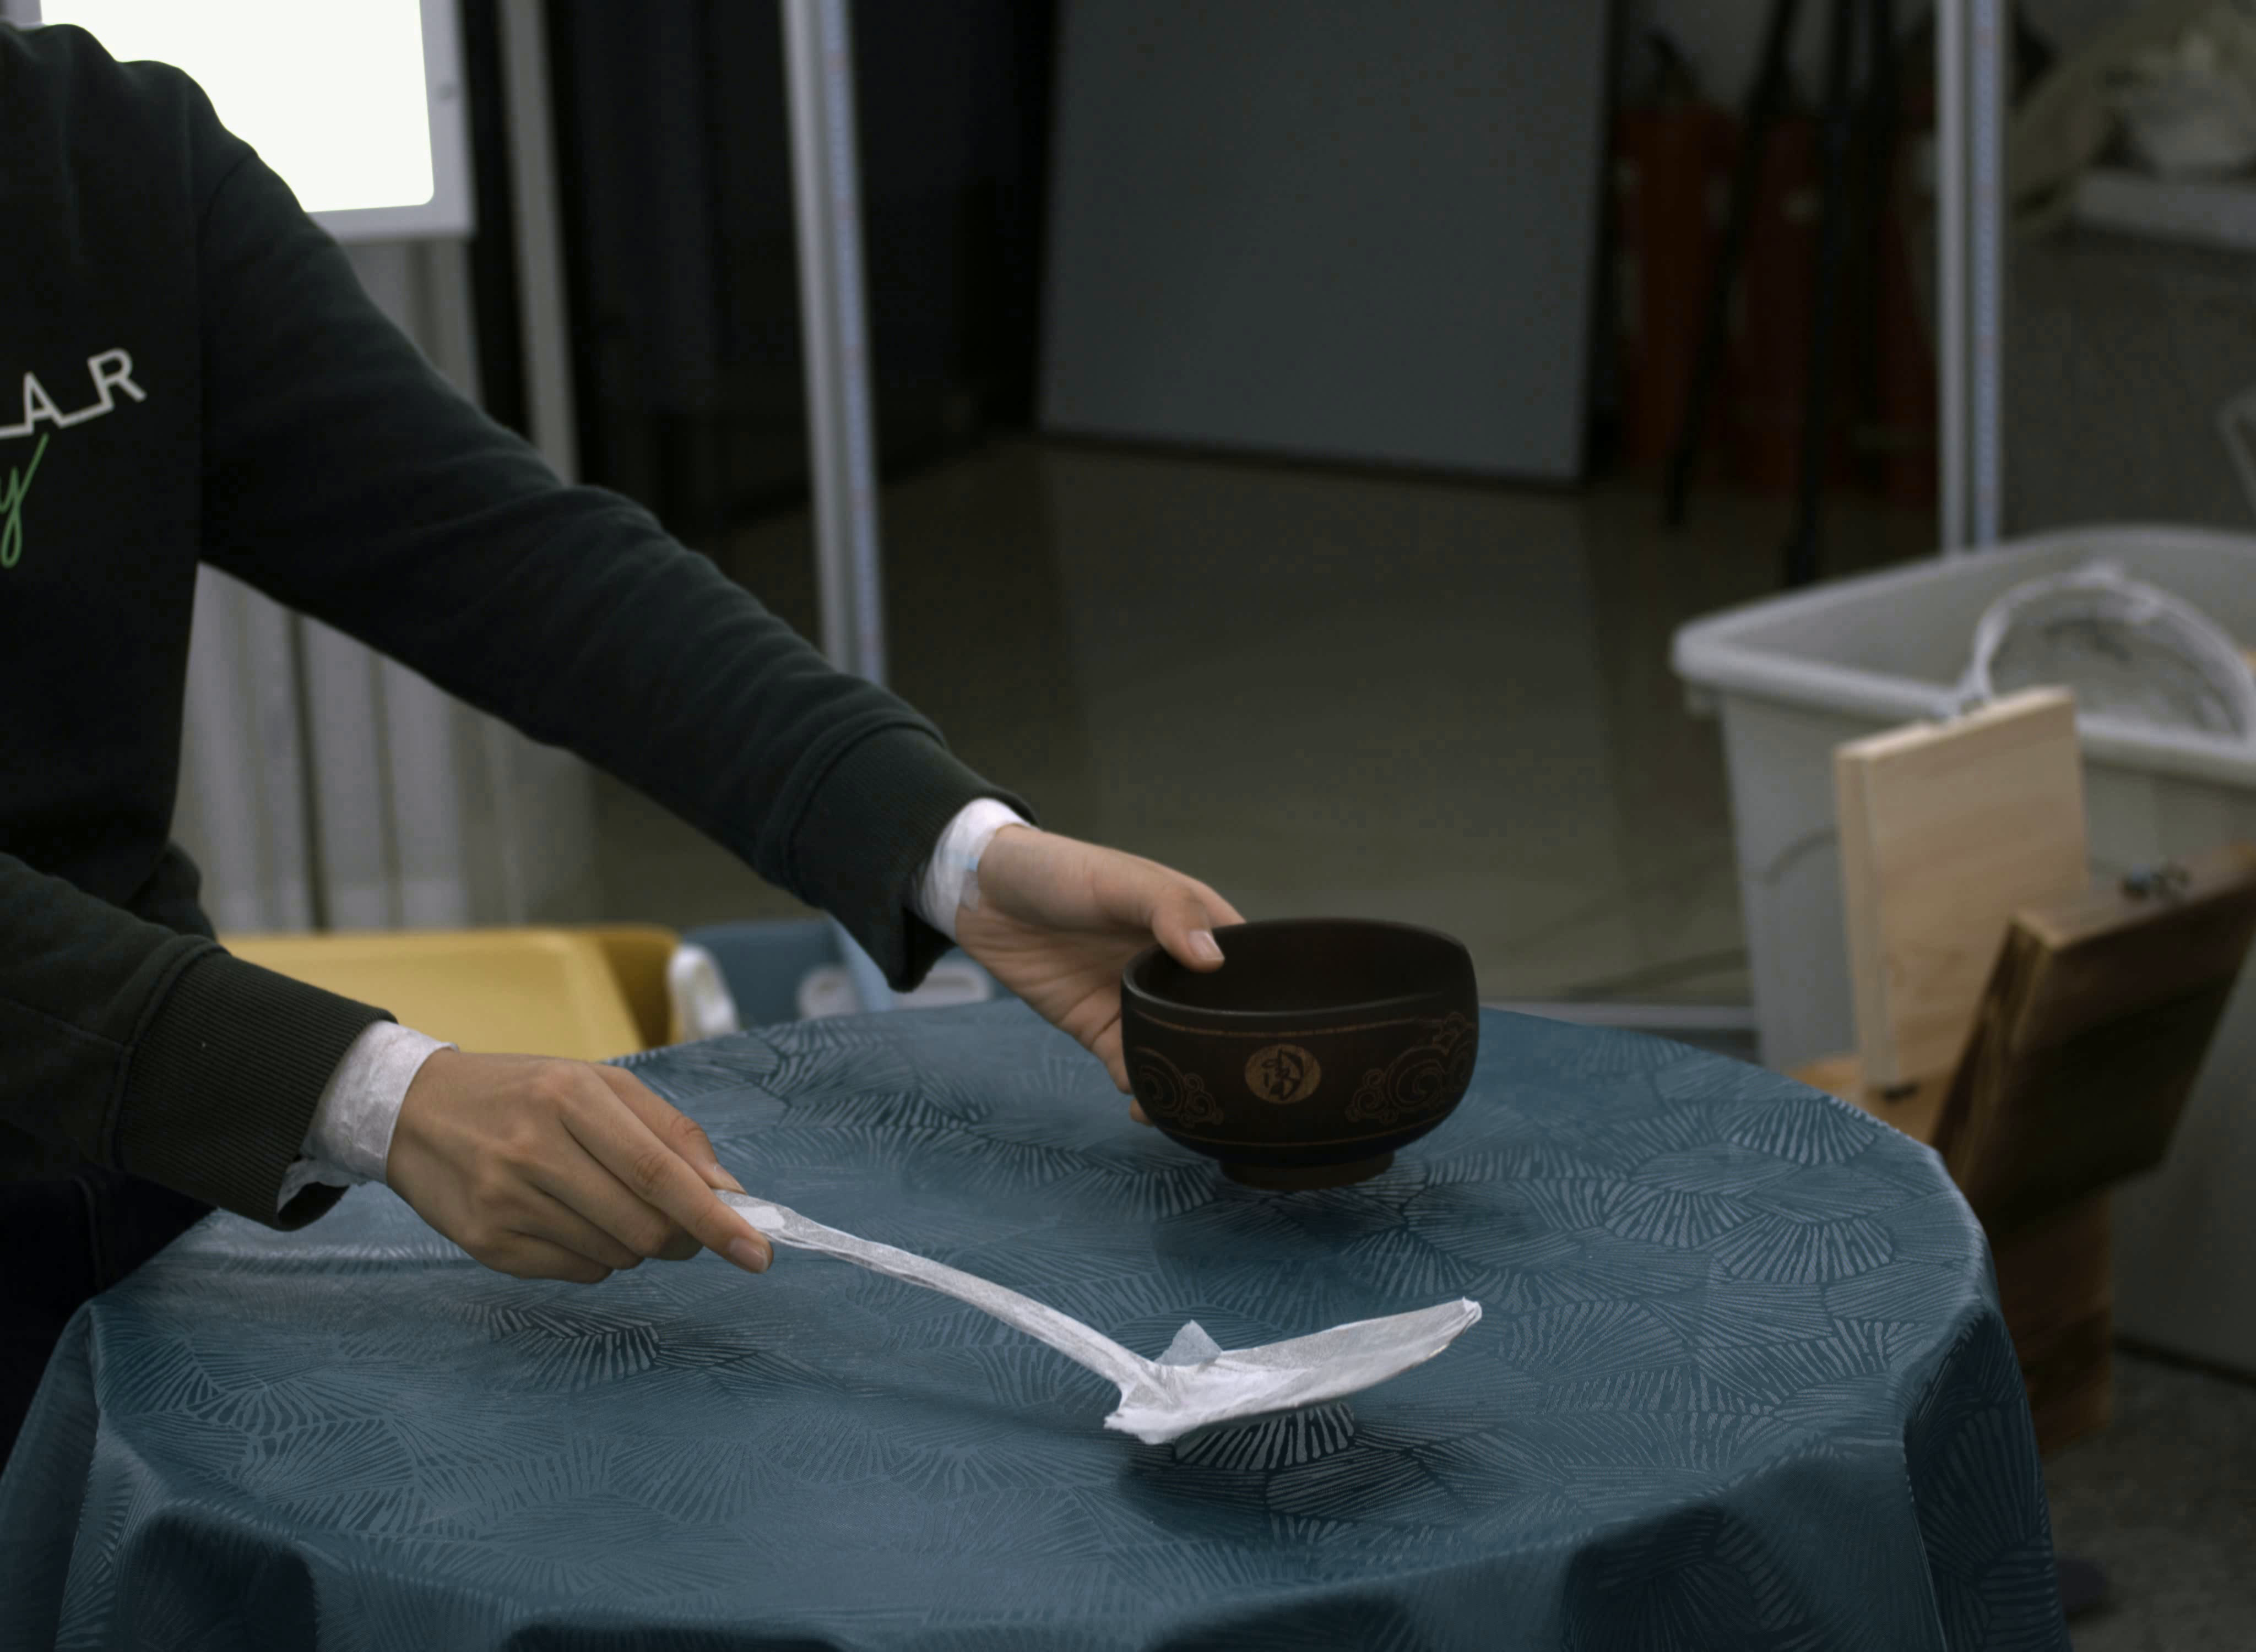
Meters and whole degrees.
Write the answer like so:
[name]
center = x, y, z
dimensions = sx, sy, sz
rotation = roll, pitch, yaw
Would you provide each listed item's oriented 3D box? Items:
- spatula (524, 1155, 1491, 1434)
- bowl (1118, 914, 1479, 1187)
[spatula]
center = -0.056, 0.128, 1.598
dimensions = 0.368, 0.045, 0.097
rotation = 14, 25, 38
[bowl]
center = 0.056, 0.075, 1.739
dimensions = 0.116, 0.070, 0.118
rotation = -4, 12, 0
